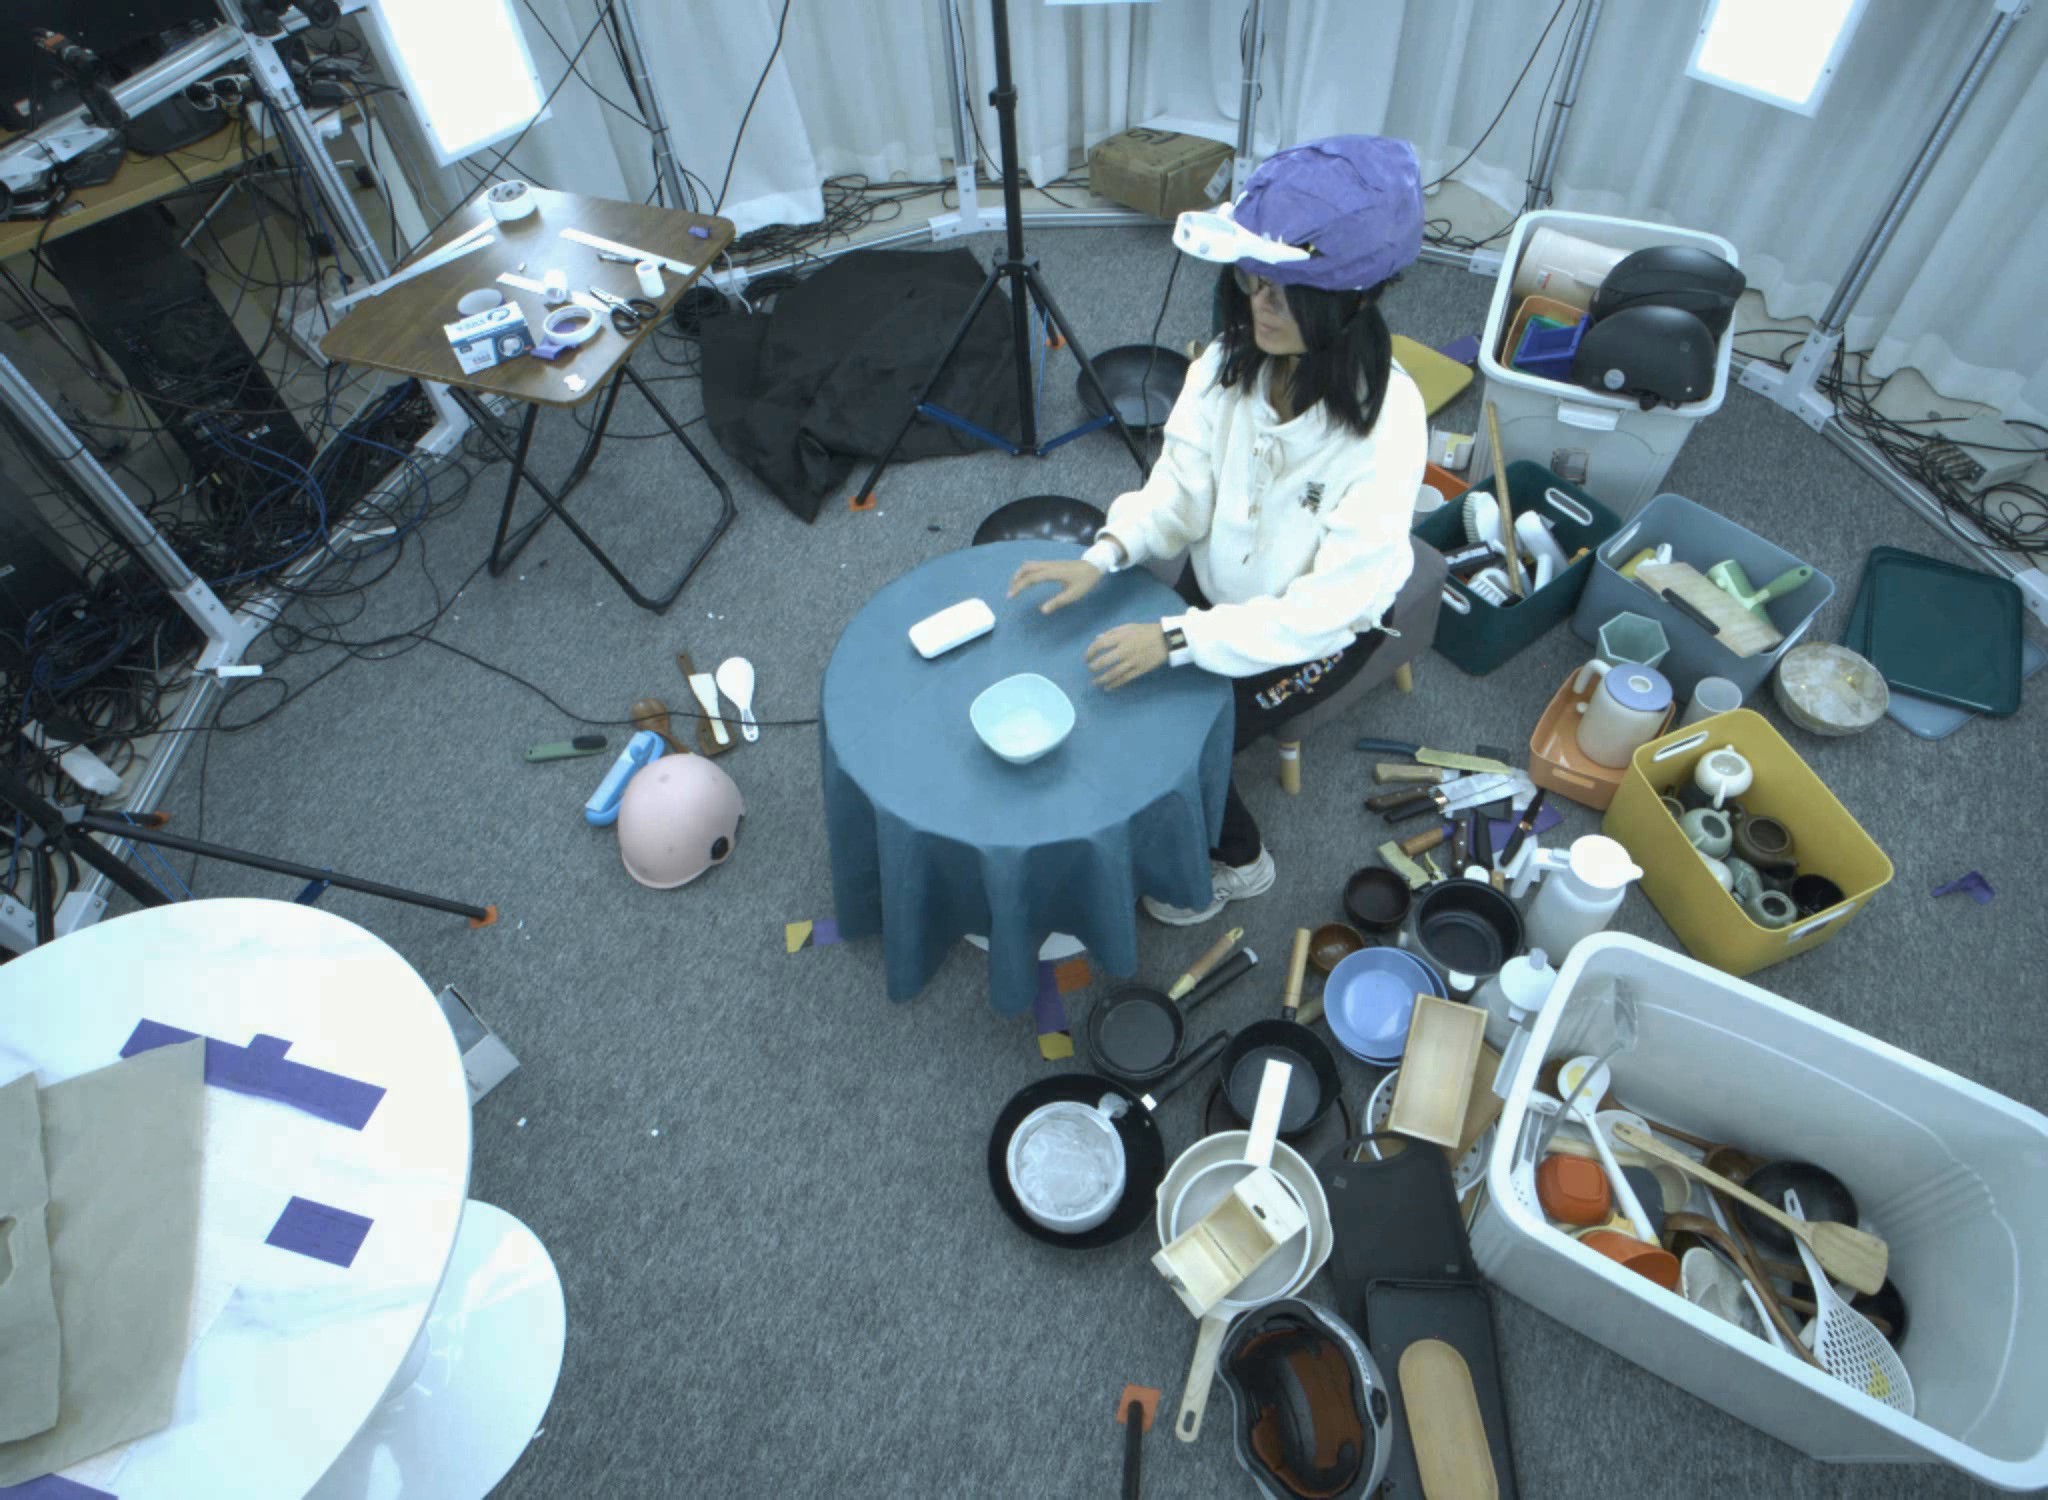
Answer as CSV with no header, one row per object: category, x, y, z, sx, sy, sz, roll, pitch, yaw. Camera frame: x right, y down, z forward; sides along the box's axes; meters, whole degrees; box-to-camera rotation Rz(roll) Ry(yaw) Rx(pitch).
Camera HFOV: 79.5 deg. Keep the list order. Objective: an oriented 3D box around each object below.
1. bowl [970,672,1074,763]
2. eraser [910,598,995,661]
bowl,-0.002,-0.036,1.780,0.151,0.059,0.150,0,56,1
eraser,-0.110,-0.188,1.906,0.132,0.035,0.062,-27,58,-16
